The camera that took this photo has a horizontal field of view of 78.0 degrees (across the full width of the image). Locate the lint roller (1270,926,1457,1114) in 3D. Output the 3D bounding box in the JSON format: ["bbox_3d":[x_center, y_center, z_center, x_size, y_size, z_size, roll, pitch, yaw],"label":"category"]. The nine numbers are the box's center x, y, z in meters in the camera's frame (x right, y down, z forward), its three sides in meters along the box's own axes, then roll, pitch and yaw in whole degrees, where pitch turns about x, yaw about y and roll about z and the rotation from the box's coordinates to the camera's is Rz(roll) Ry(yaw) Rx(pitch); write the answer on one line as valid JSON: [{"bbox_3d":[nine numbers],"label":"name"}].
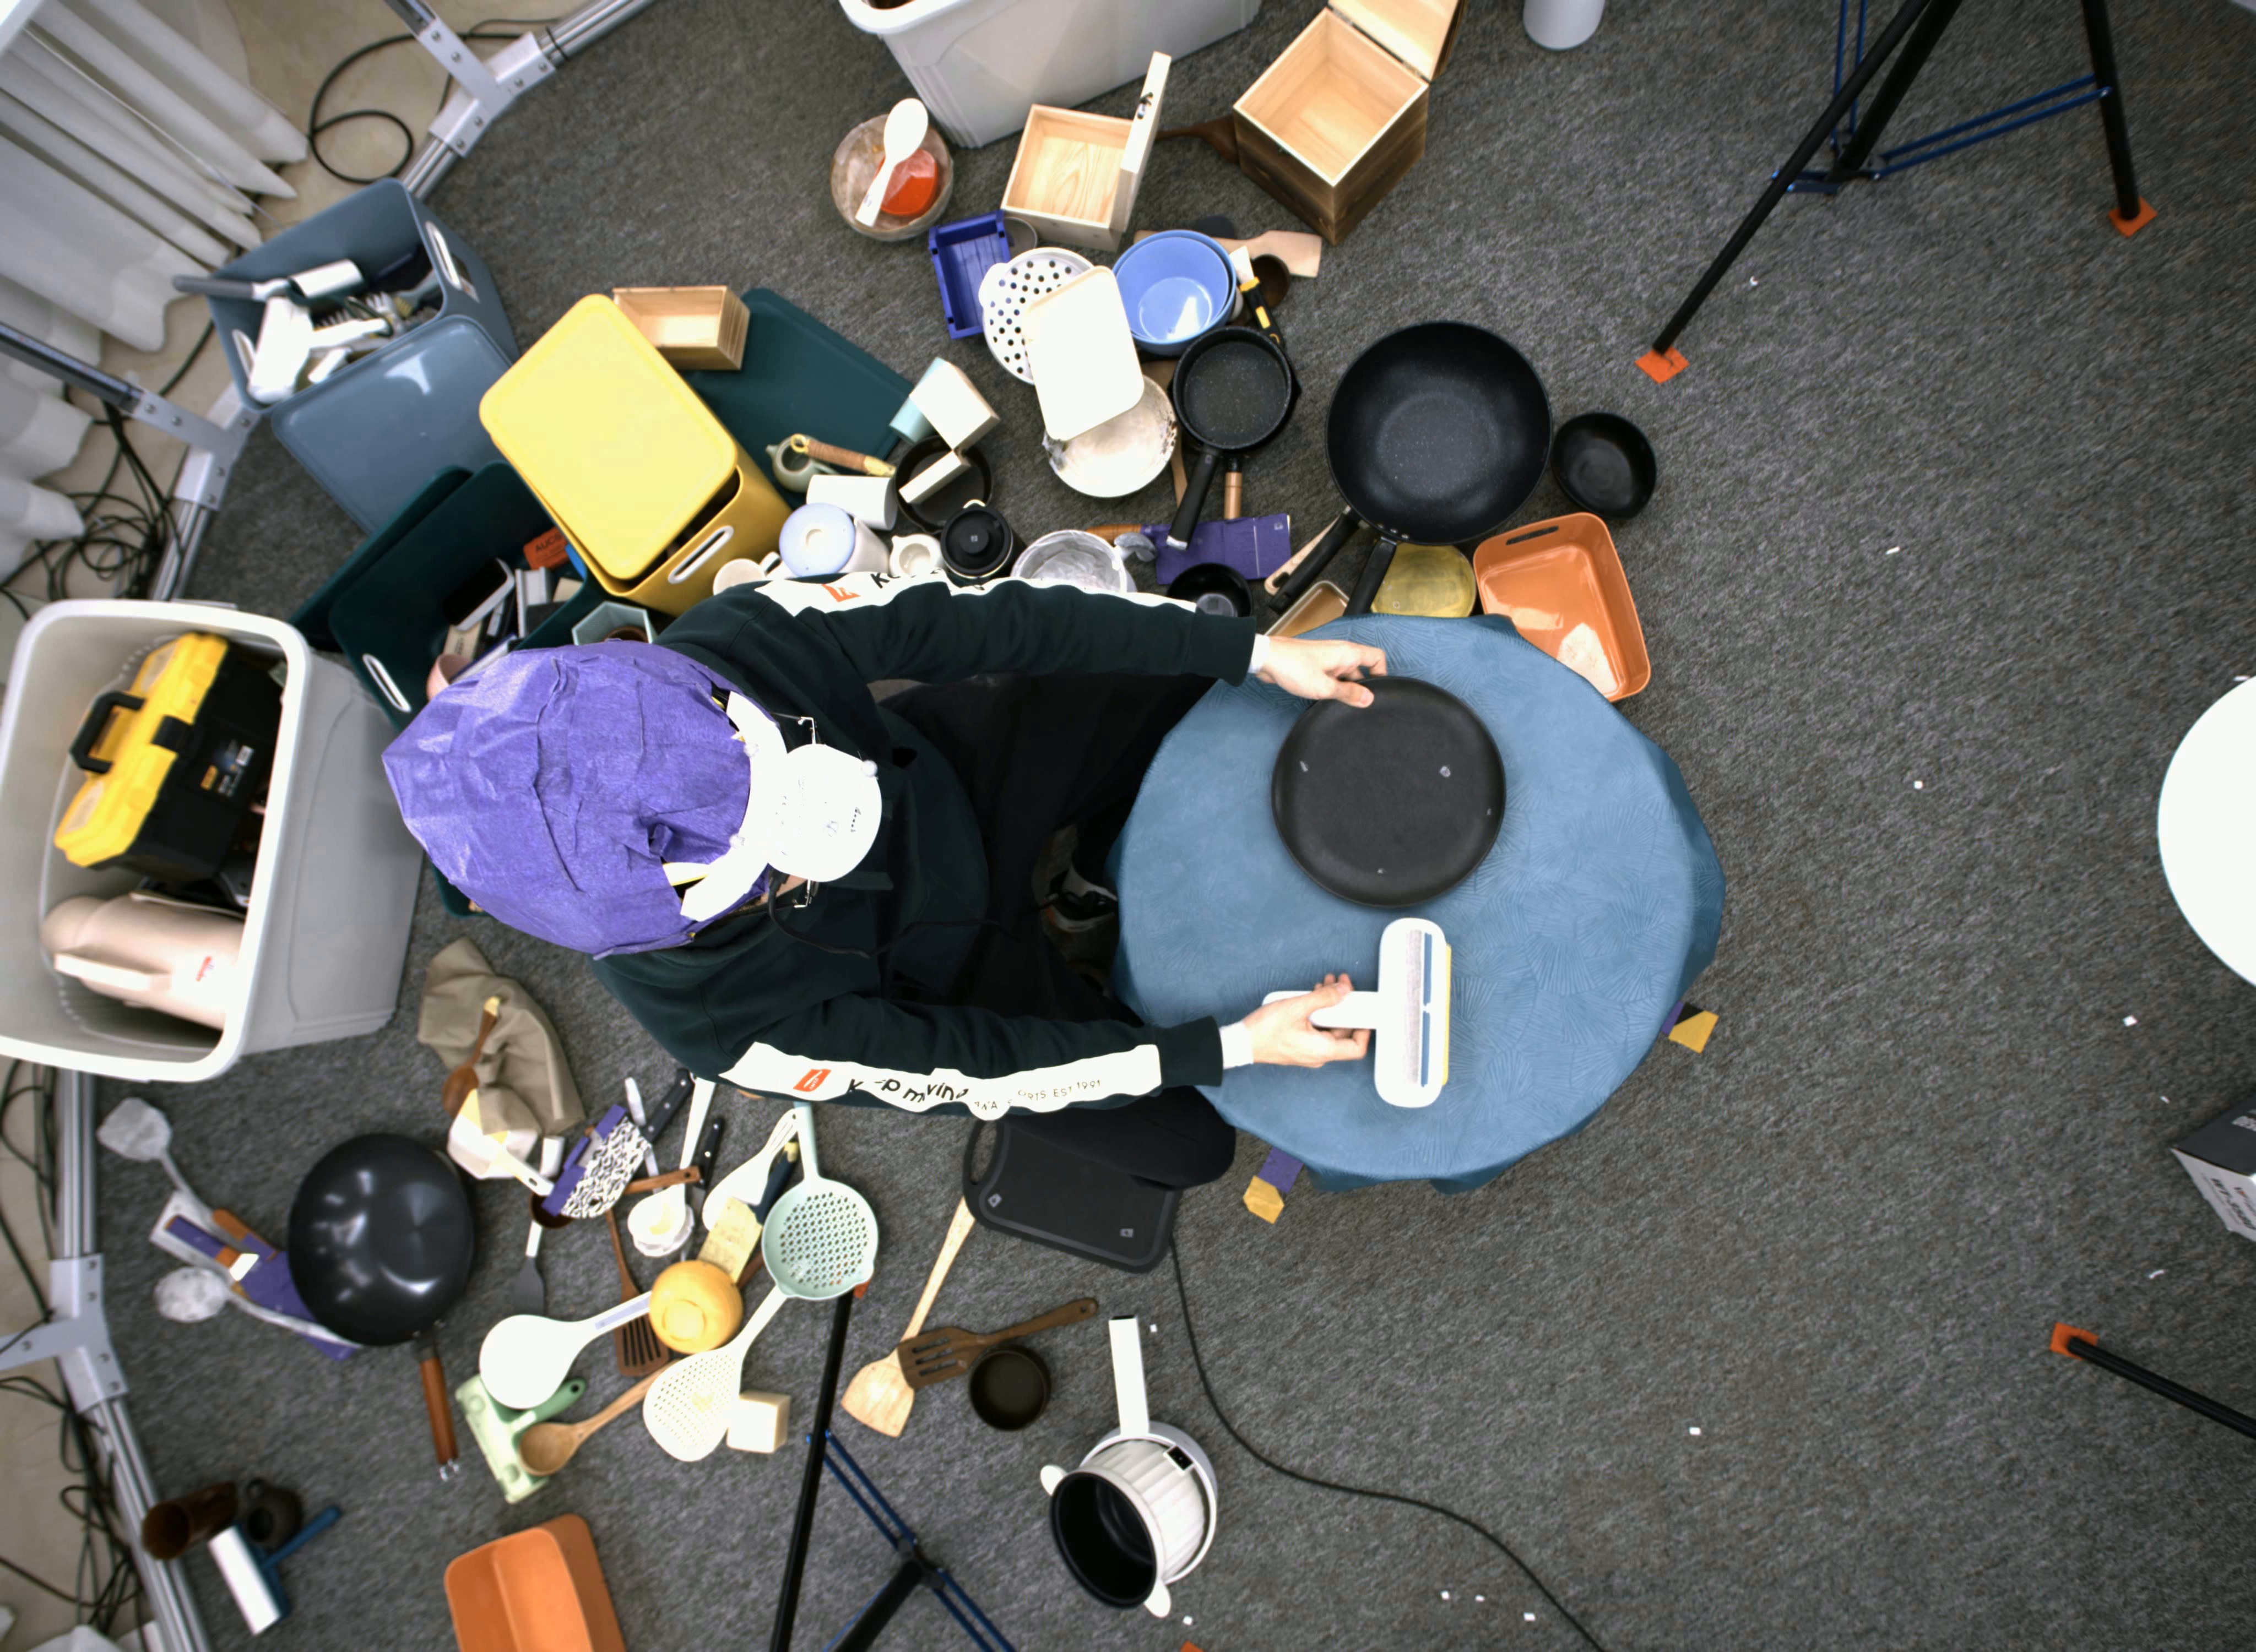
[{"bbox_3d":[0.236,0.193,1.433,0.193,0.075,0.190,5,76,22],"label":"lint roller"}]

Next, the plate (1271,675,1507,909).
[{"bbox_3d":[0.271,-0.037,1.441,0.245,0.023,0.244,0,93,11],"label":"plate"}]
